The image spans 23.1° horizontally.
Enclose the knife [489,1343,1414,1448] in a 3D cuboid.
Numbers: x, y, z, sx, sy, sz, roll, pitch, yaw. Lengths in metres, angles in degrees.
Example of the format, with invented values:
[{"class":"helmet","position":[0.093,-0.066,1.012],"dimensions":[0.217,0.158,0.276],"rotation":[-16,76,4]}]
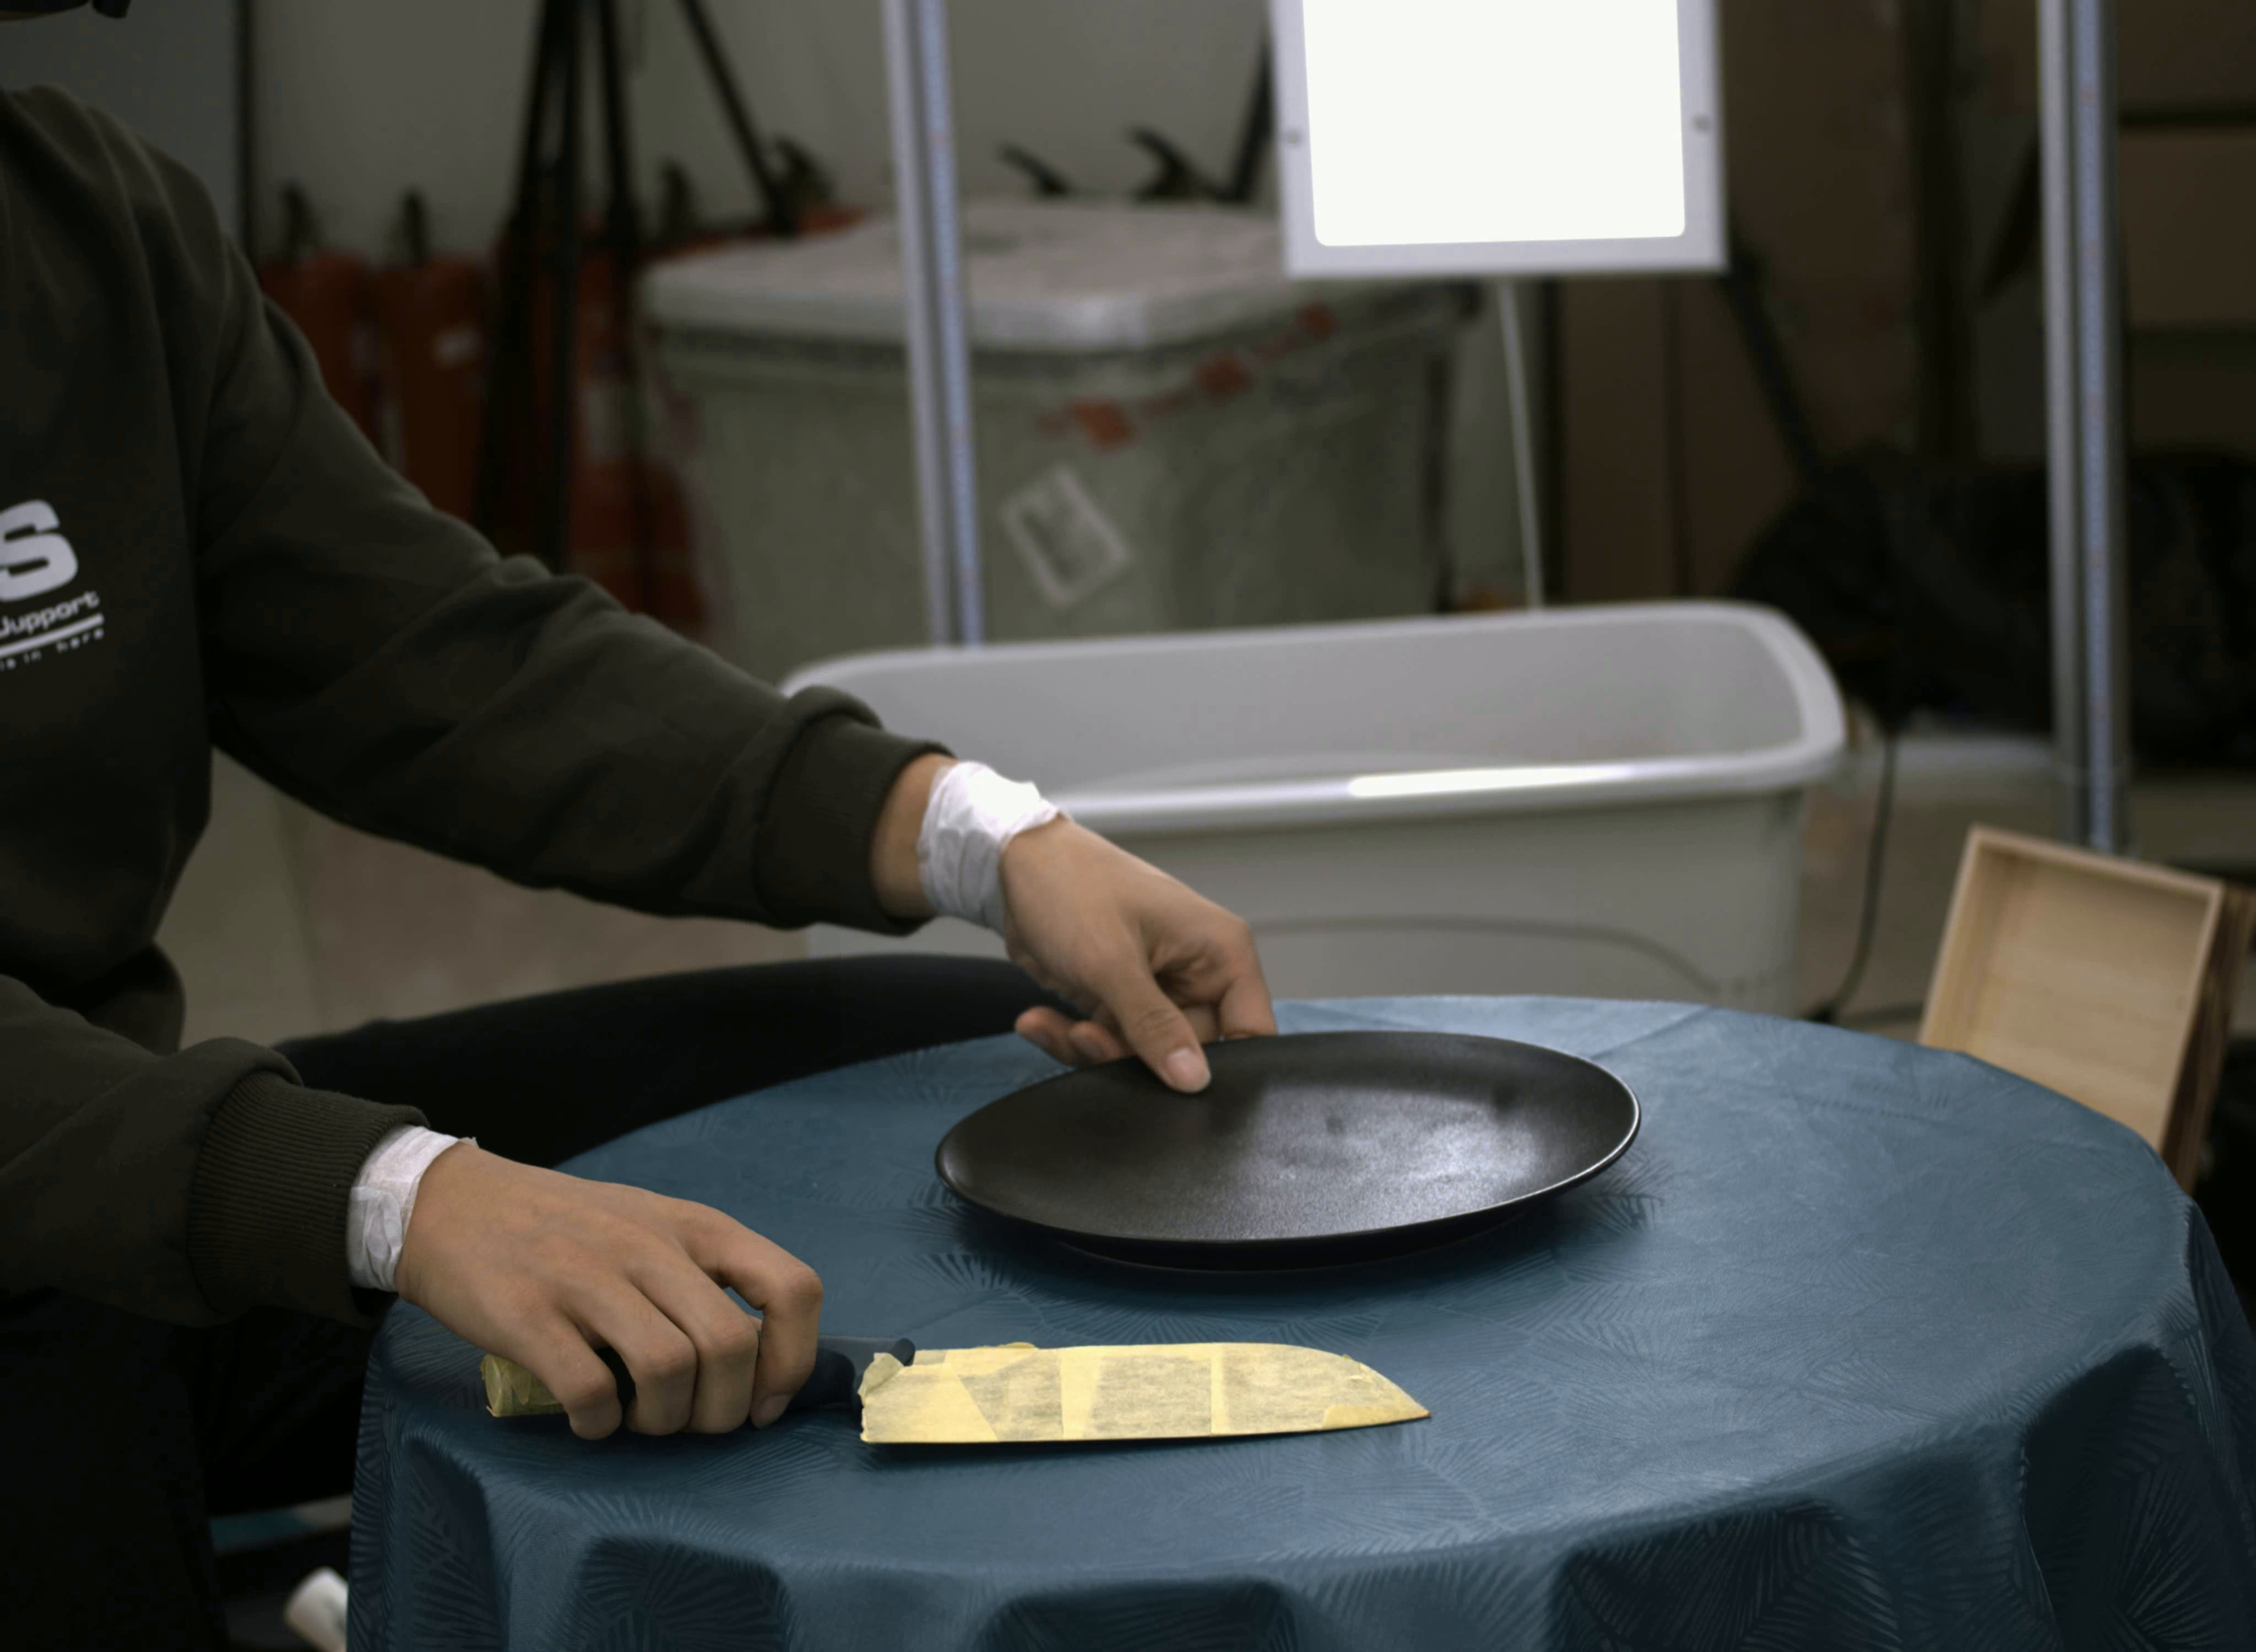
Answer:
[{"class":"knife","position":[-0.056,0.176,1.691],"dimensions":[0.290,0.027,0.080],"rotation":[-3,13,7]}]

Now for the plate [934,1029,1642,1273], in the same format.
[{"class":"plate","position":[0.056,0.114,1.886],"dimensions":[0.244,0.023,0.244],"rotation":[-5,13,0]}]
